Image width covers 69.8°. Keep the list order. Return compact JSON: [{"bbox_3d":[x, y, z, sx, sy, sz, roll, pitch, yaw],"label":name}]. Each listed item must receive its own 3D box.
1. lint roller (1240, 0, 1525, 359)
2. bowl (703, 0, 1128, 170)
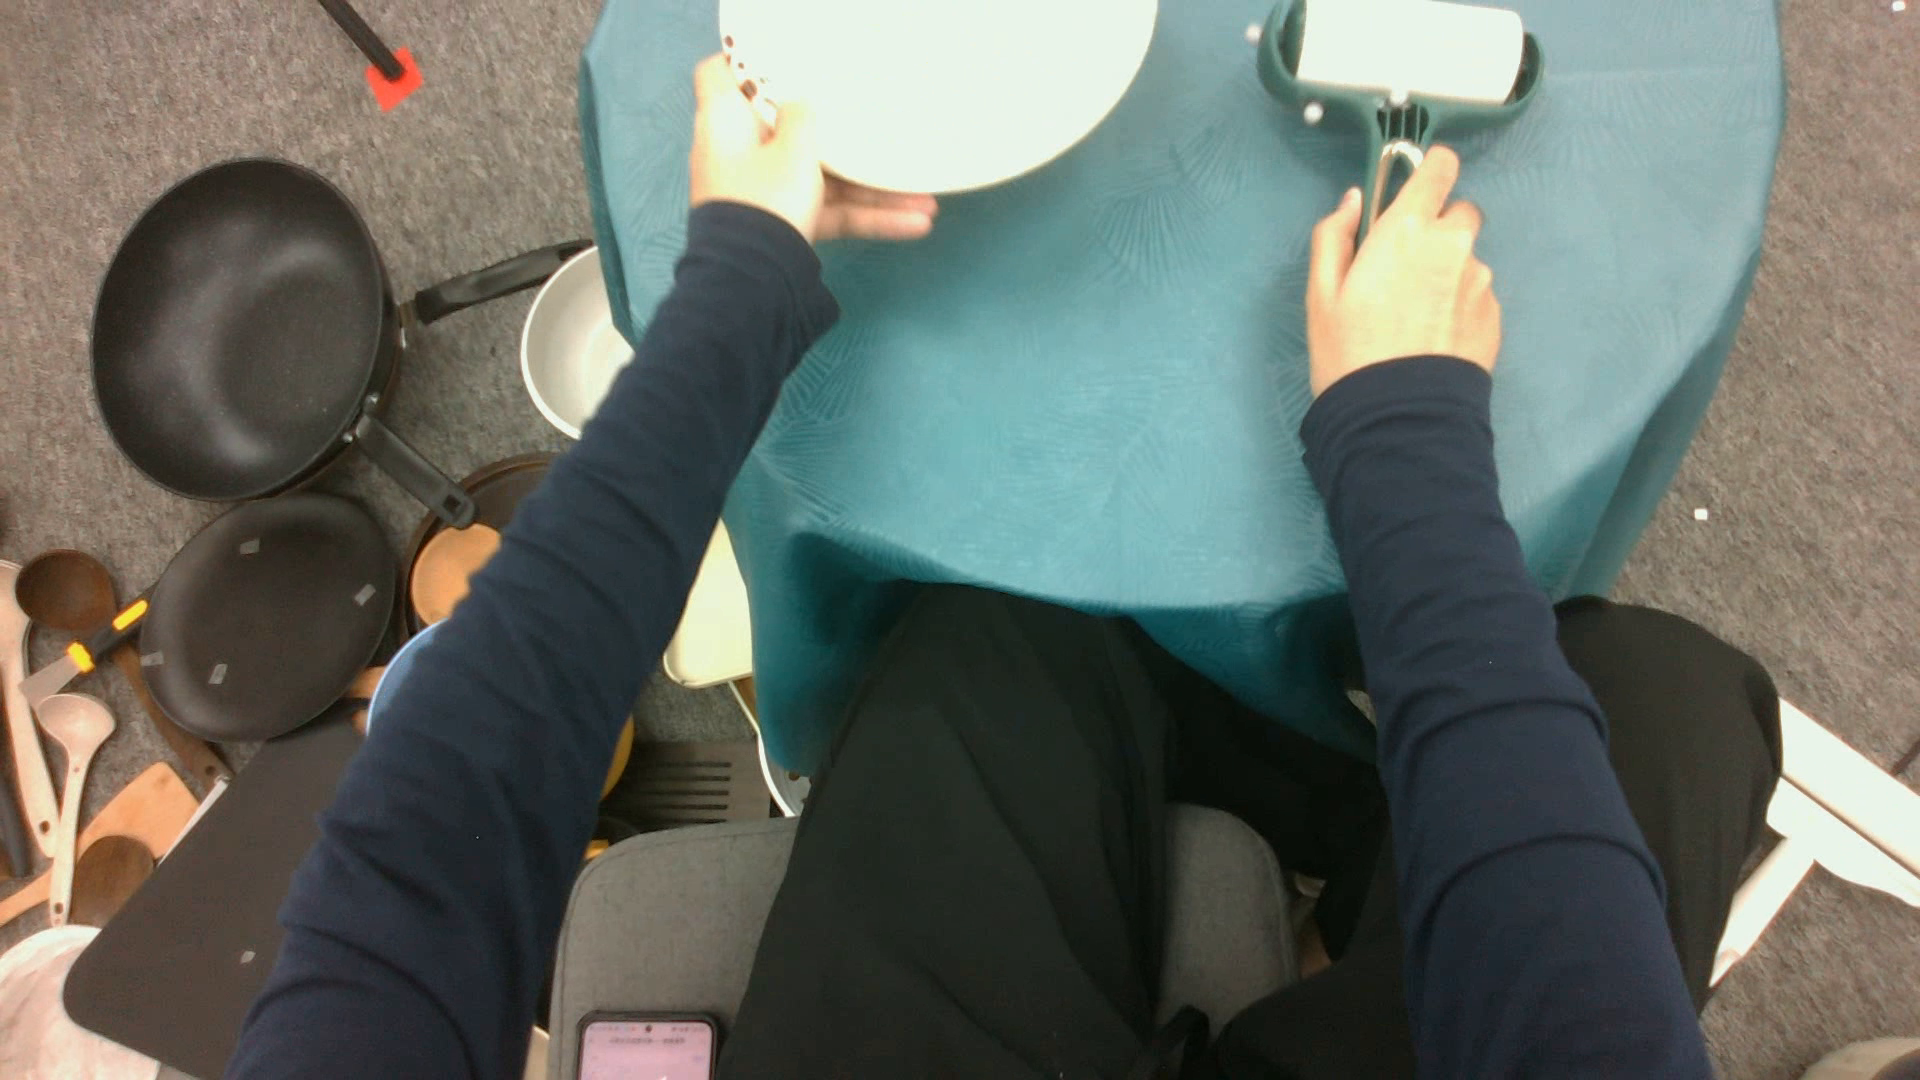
[{"bbox_3d":[0.196,-0.174,0.642,0.134,0.048,0.181,4,67,5],"label":"lint roller"},{"bbox_3d":[-0.015,-0.249,0.667,0.204,0.078,0.204,-3,71,9],"label":"bowl"}]
